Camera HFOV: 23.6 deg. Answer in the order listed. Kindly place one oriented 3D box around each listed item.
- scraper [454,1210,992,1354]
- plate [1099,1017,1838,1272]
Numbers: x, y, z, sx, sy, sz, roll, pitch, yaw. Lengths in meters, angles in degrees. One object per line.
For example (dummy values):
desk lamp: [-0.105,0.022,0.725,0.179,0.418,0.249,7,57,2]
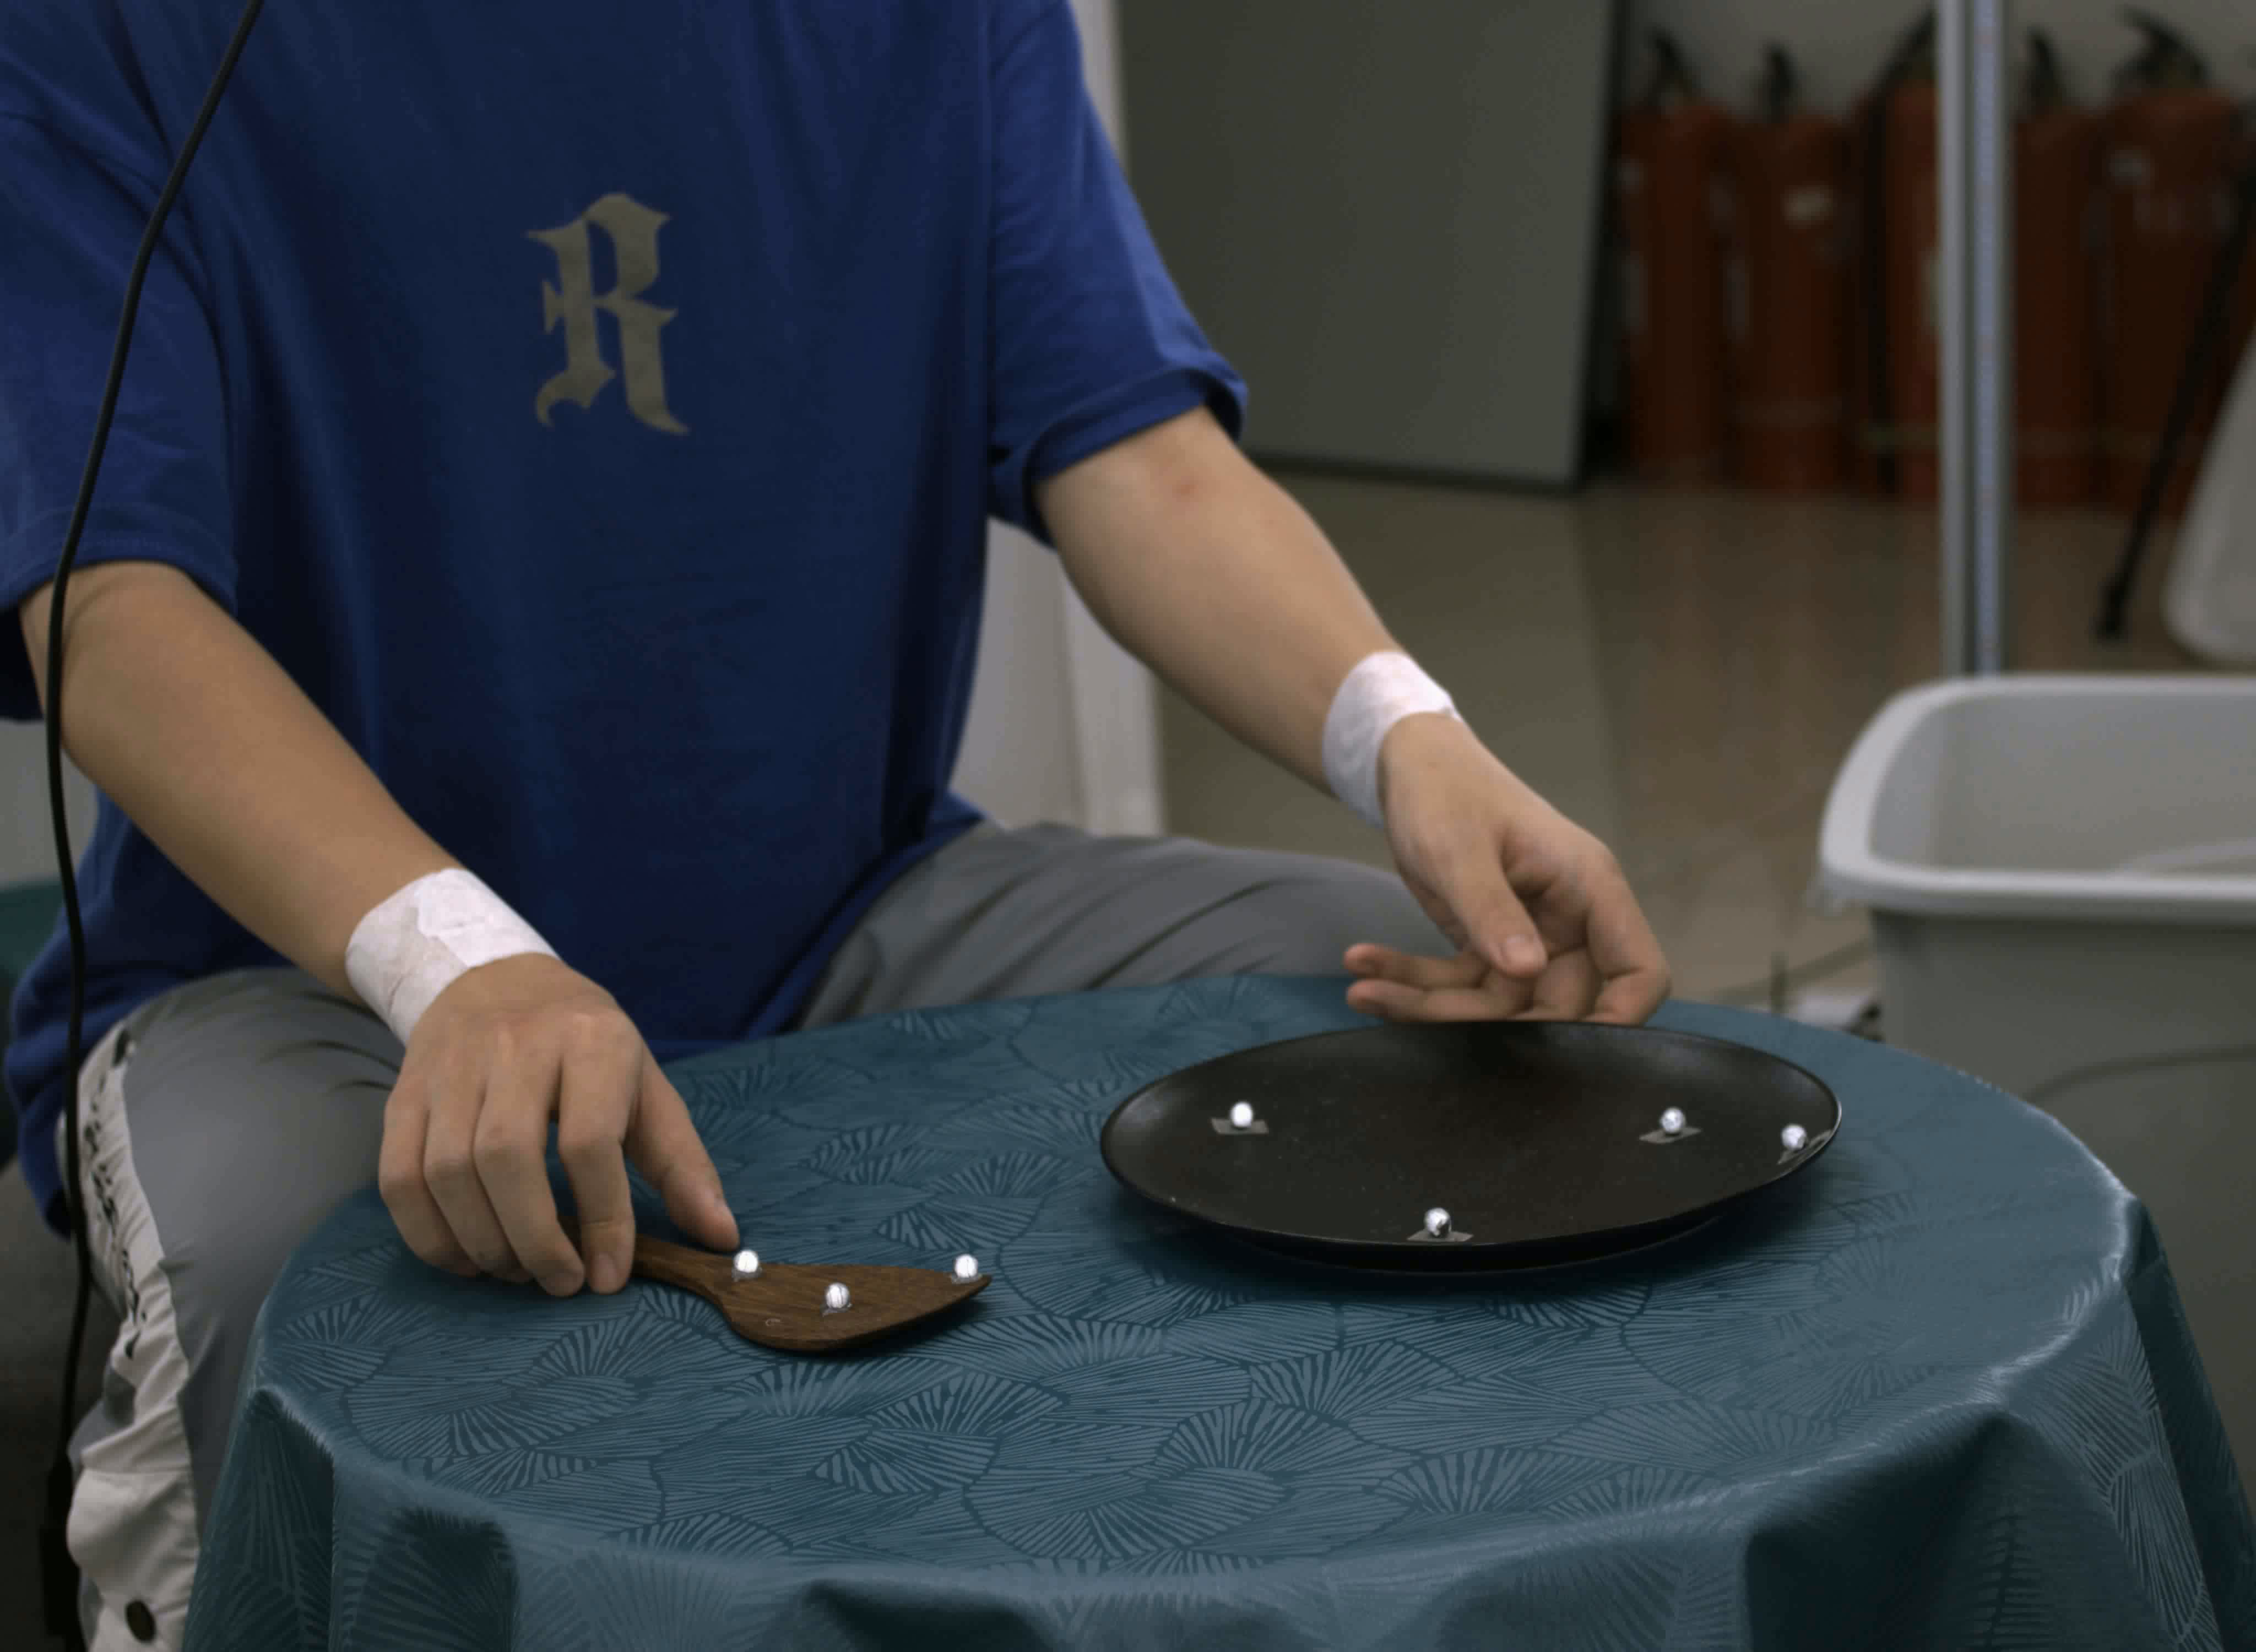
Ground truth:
scraper: [-0.137,0.141,1.710,0.213,0.011,0.074,8,18,42]
plate: [0.110,0.106,1.752,0.241,0.024,0.245,-4,14,0]
